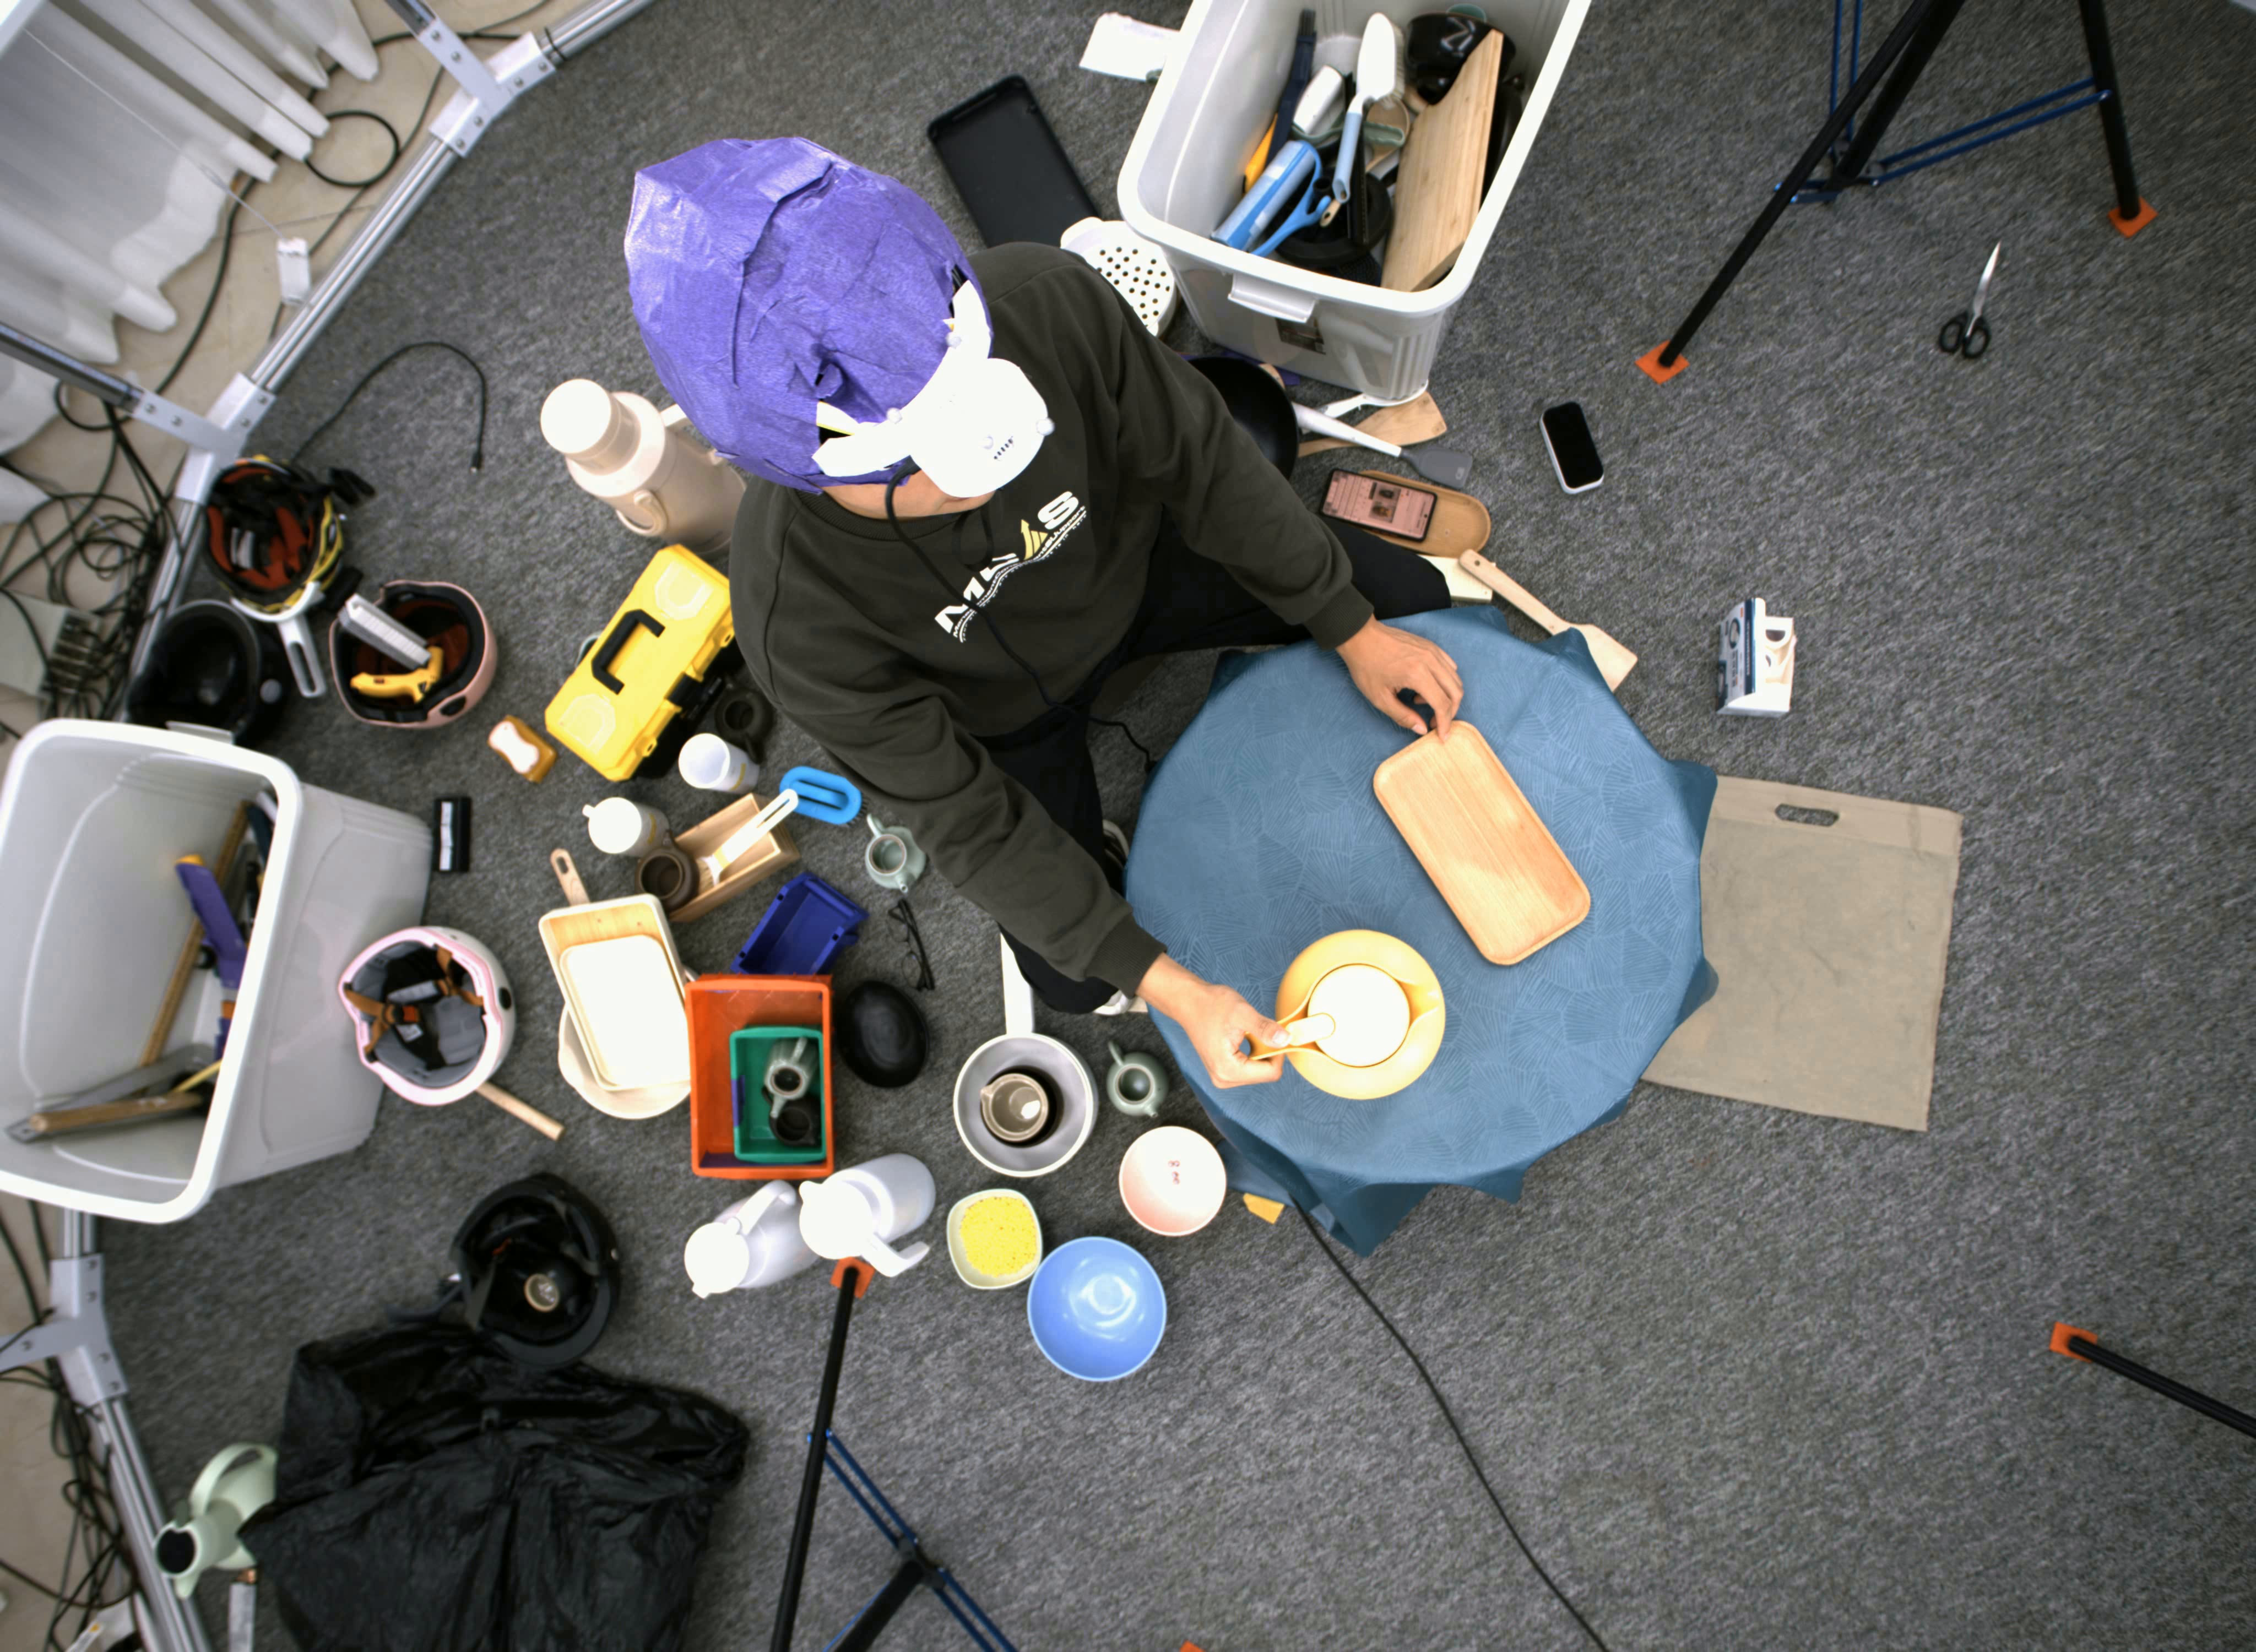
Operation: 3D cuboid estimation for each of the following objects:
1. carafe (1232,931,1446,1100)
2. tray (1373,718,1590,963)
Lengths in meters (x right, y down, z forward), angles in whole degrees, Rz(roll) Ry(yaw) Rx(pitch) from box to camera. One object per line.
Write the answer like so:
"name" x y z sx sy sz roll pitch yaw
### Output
"carafe" 0.203 0.184 1.332 0.203 0.261 0.162 -14 79 7
"tray" 0.368 0.013 1.436 0.131 0.023 0.249 -32 81 5
